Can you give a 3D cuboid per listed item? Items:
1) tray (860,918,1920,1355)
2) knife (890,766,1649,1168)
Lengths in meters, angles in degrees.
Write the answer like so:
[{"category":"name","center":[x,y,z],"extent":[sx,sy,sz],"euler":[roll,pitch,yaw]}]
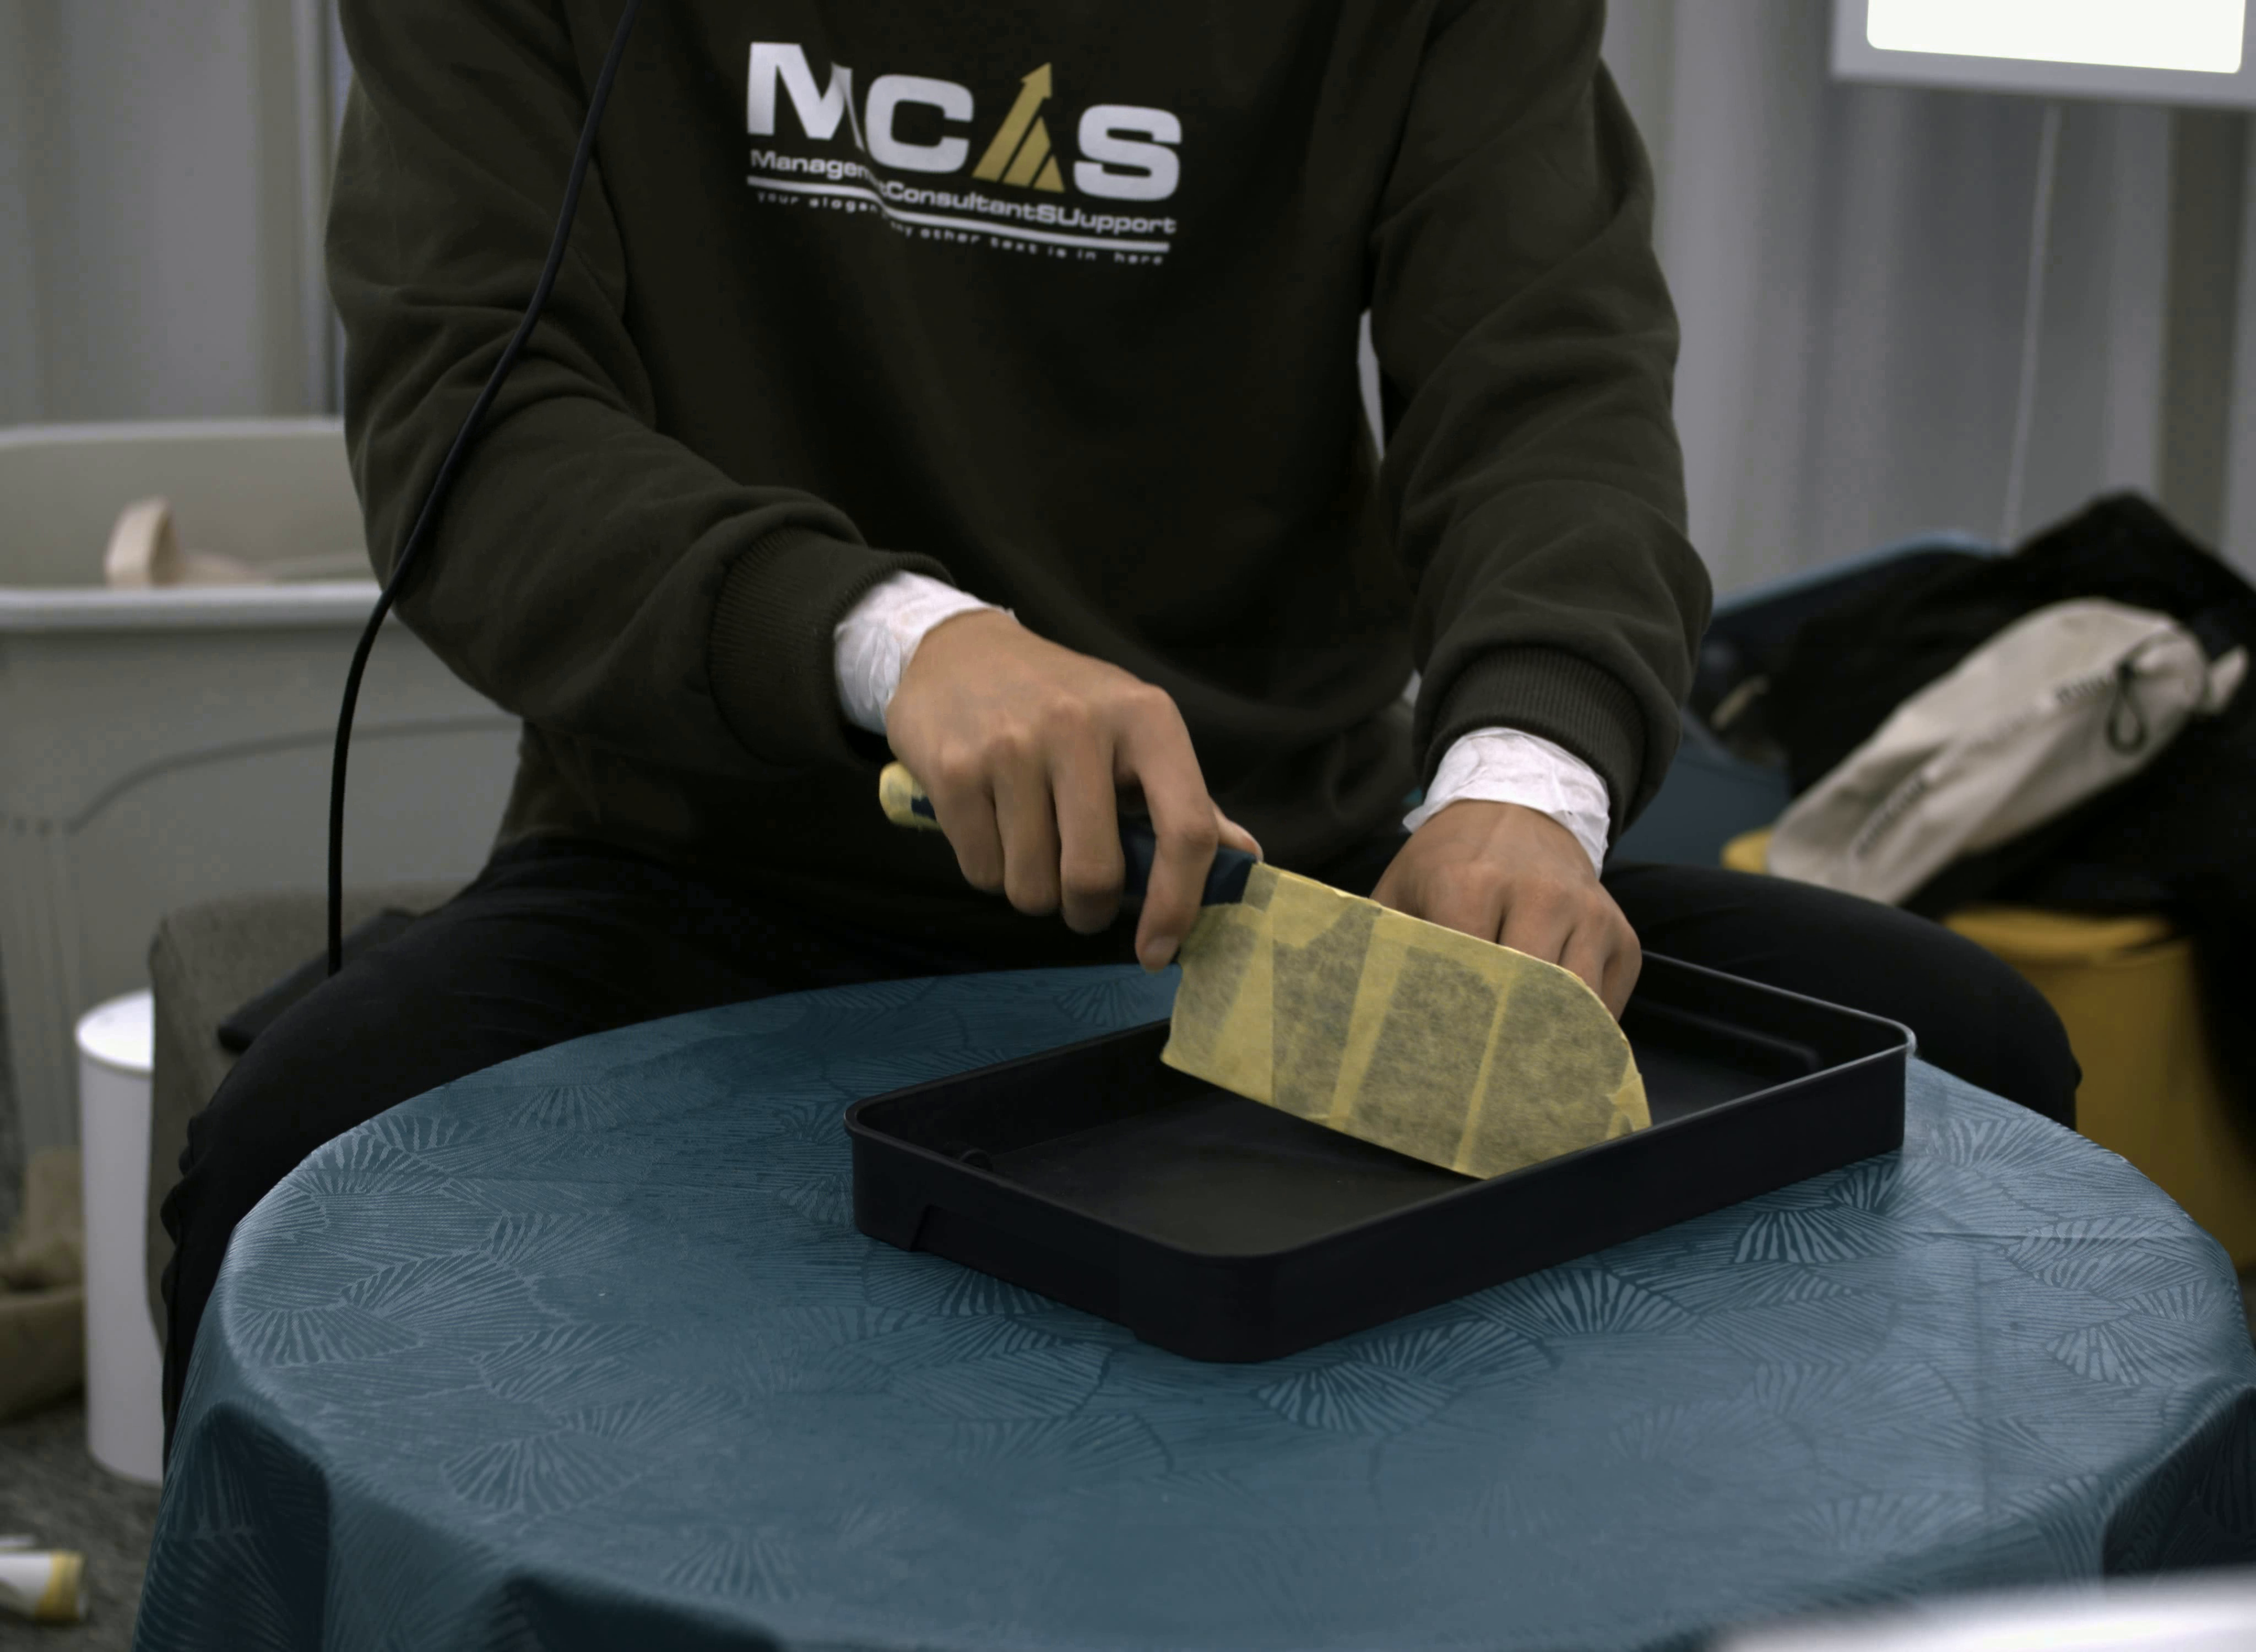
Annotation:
[{"category":"tray","center":[0.086,0.090,1.637],"extent":[0.182,0.037,0.319],"euler":[15,21,43]},{"category":"knife","center":[0.040,0.045,1.656],"extent":[0.286,0.081,0.027],"euler":[23,9,26]}]
